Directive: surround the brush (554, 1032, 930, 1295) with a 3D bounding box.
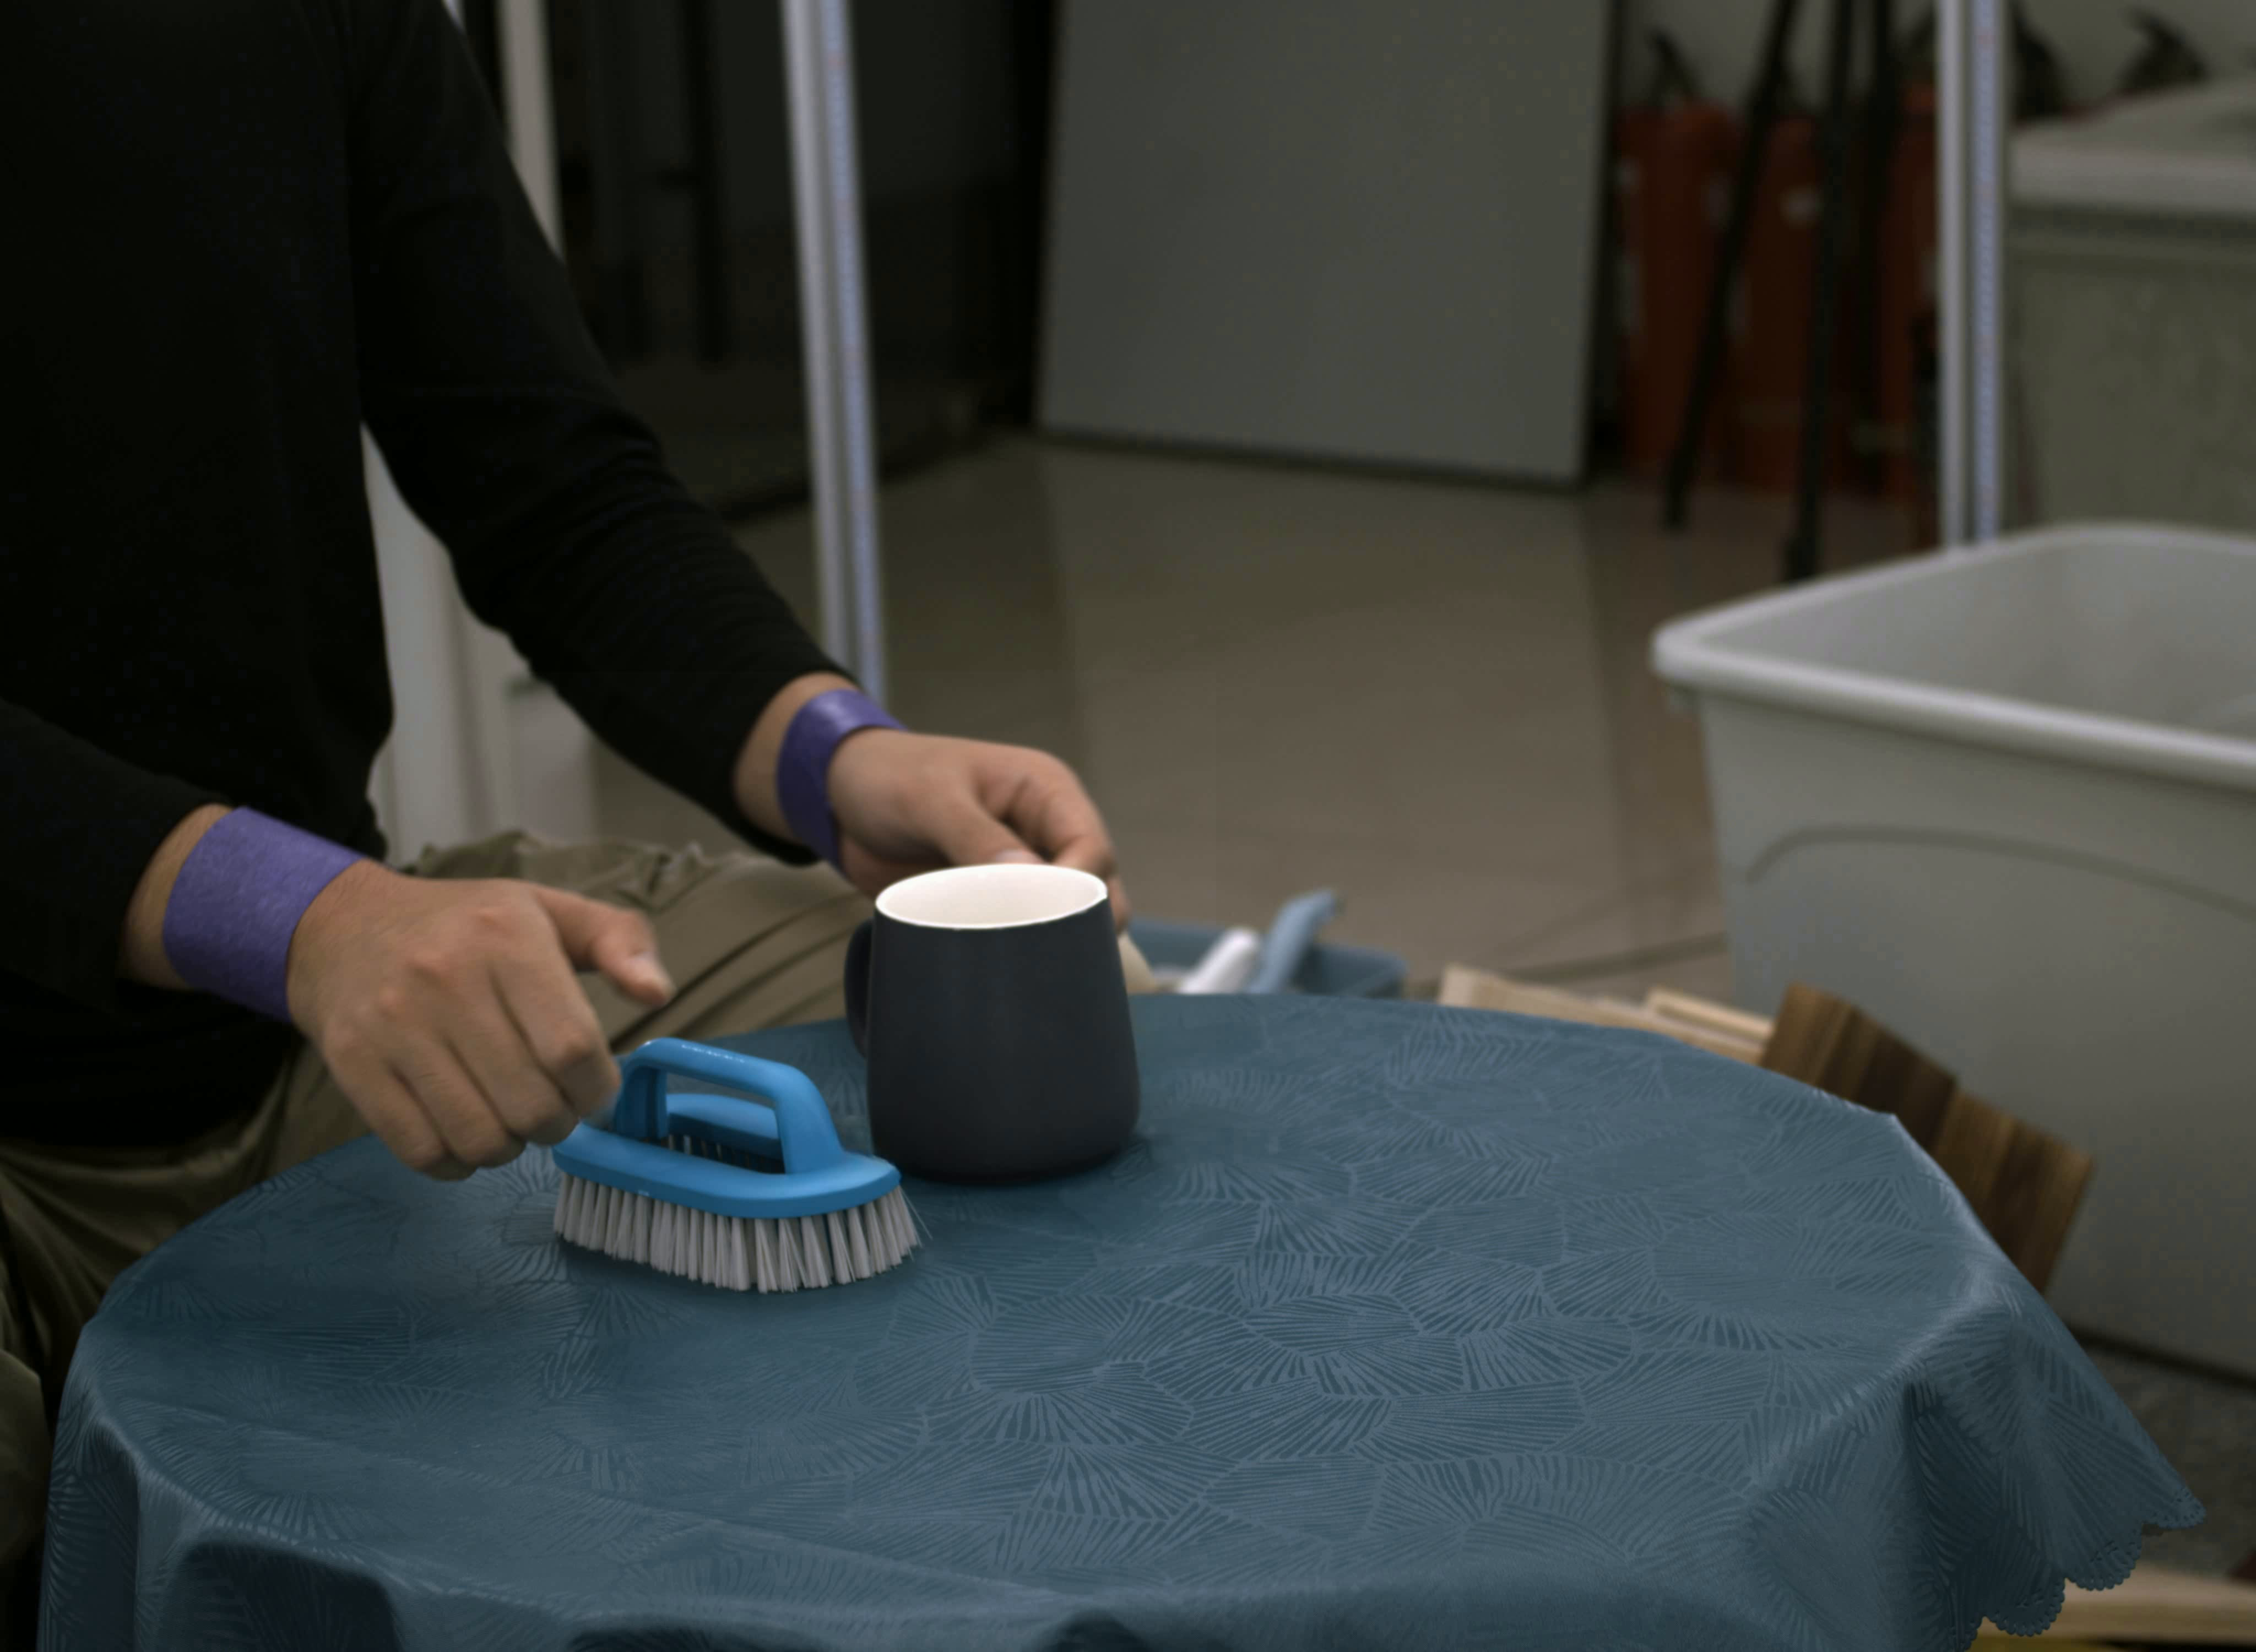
[{"bbox_3d":[-0.128,0.102,1.745,0.083,0.064,0.143,-22,21,-40],"label":"brush"}]

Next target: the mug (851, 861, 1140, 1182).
[{"bbox_3d":[-0.052,0.063,1.823,0.091,0.091,0.124,-13,18,-37],"label":"mug"}]
